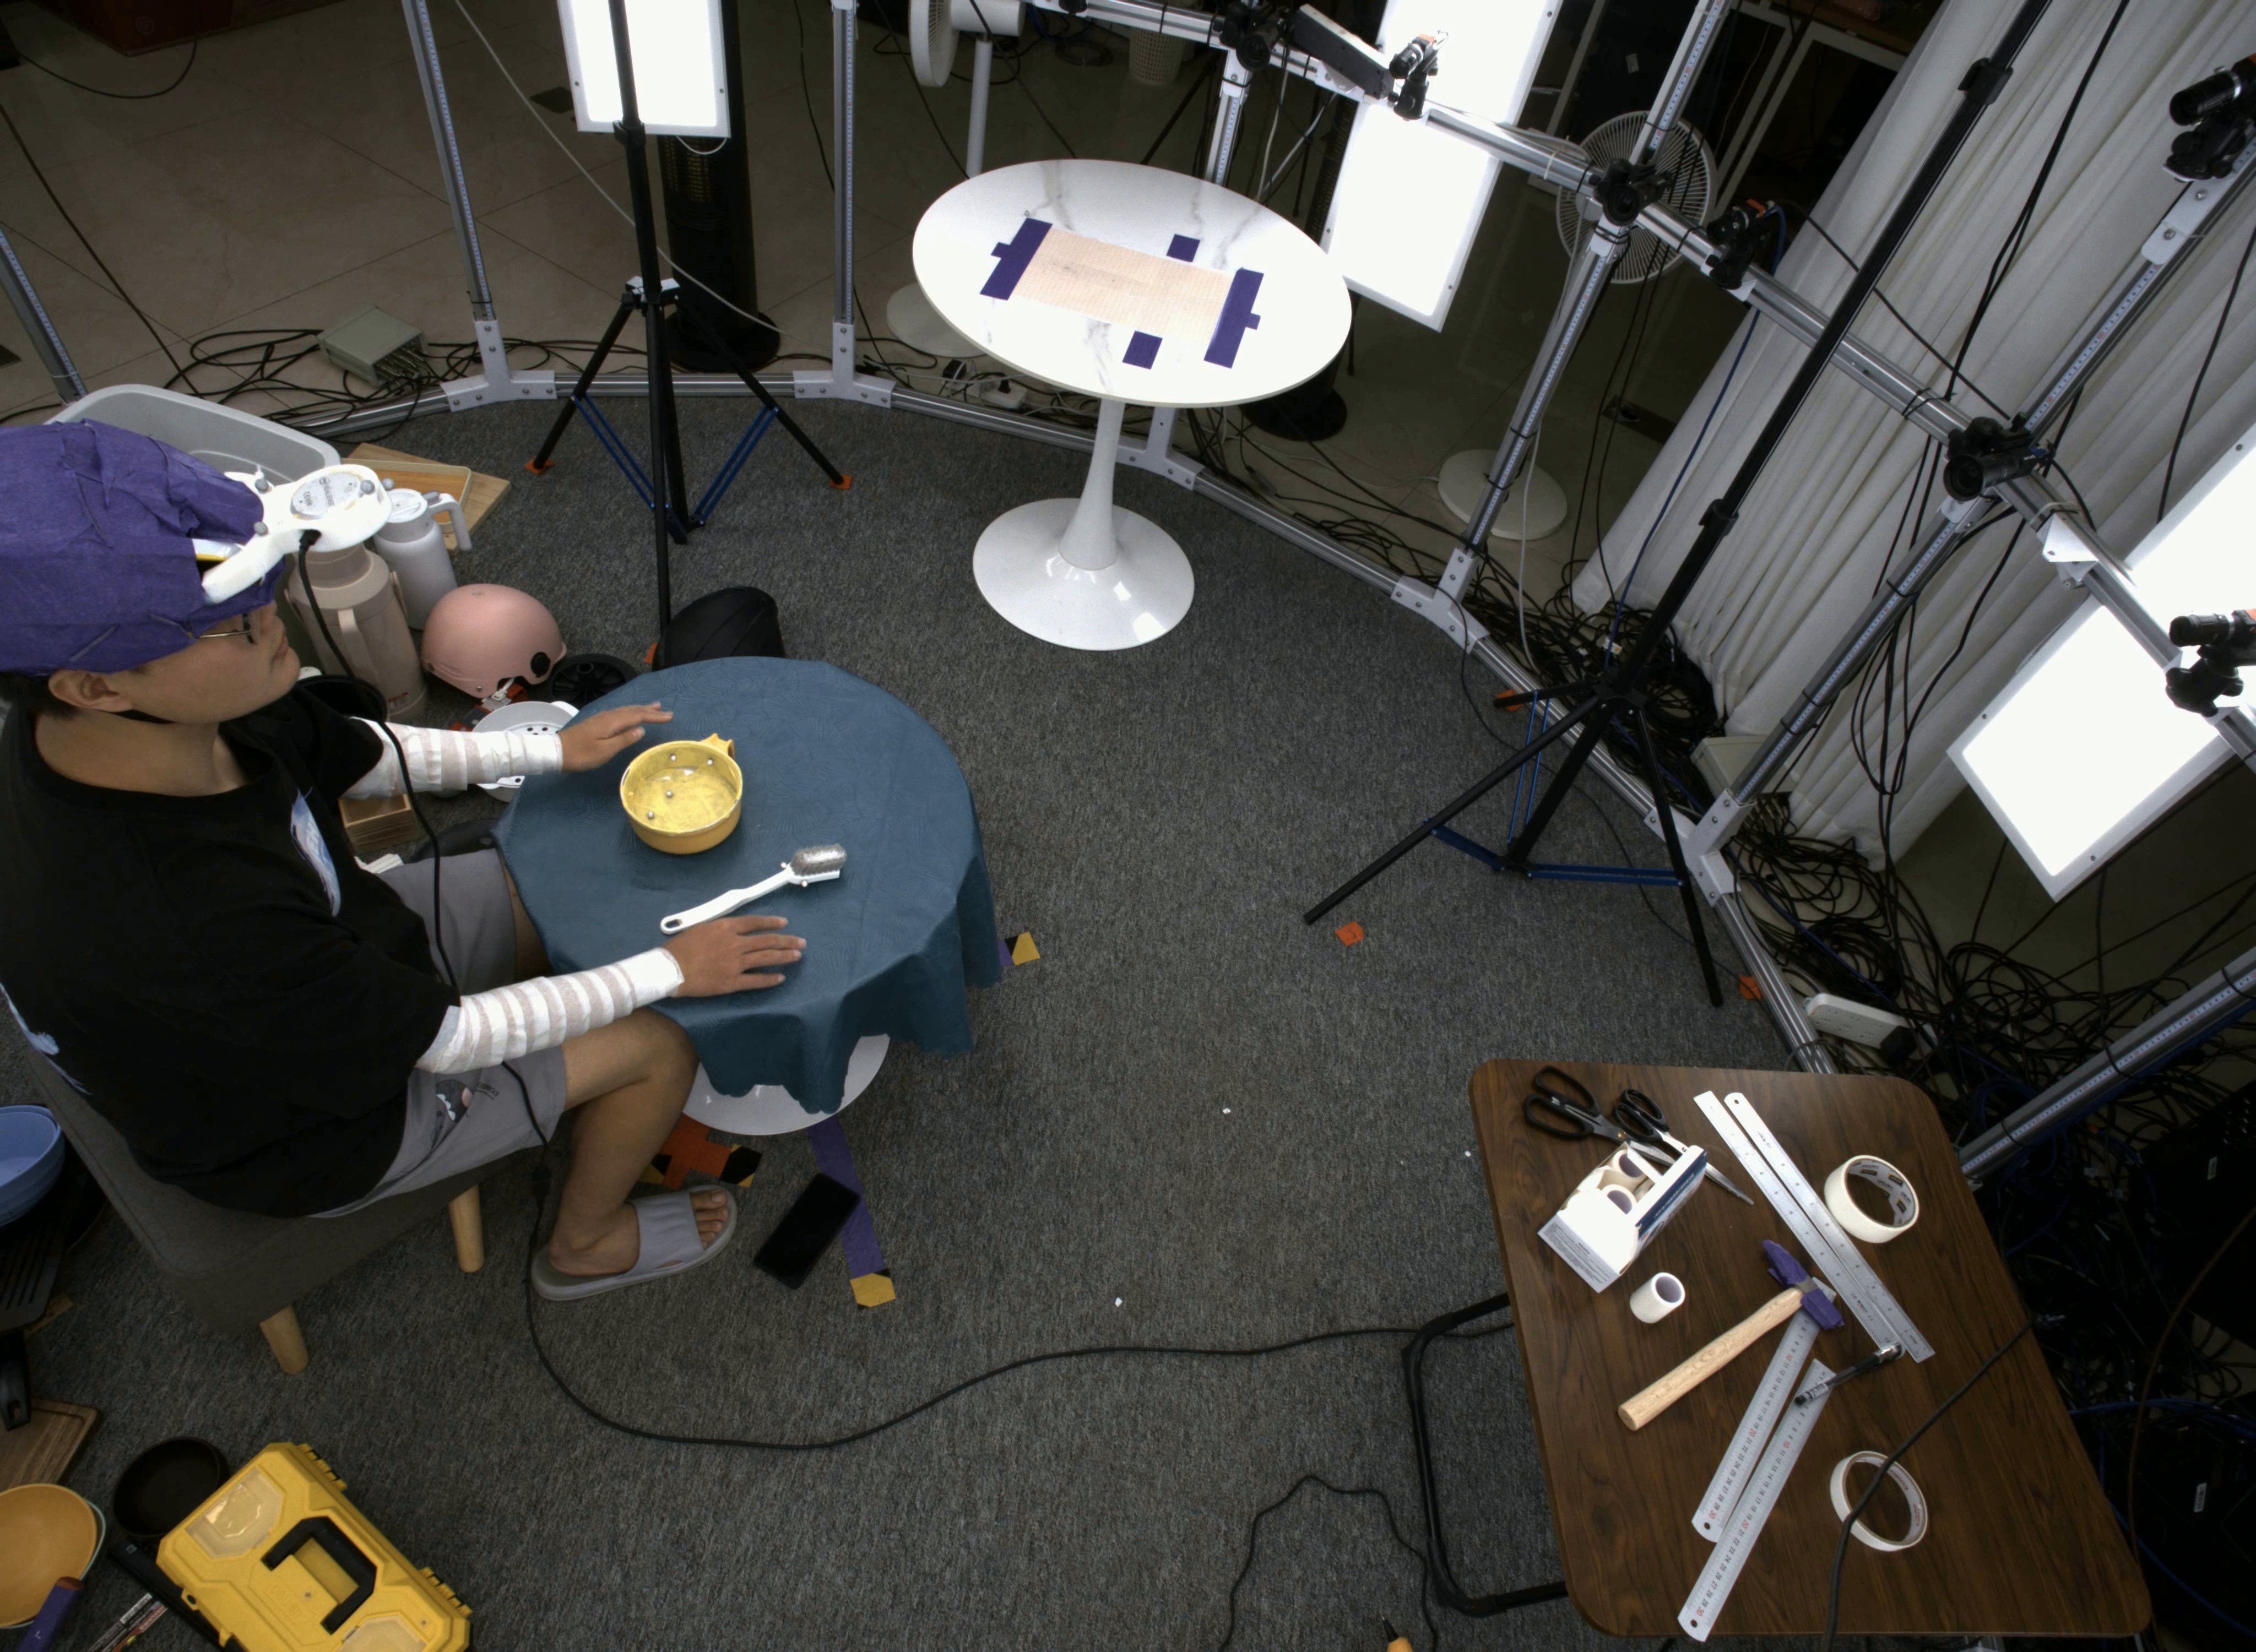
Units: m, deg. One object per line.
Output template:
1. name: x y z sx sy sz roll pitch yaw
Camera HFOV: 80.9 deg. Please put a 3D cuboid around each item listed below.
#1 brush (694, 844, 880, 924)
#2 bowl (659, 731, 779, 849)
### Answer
1. brush: -0.434 0.069 1.649 0.245 0.051 0.033 -17 59 -24
2. bowl: -0.527 -0.049 1.700 0.150 0.076 0.177 19 51 7
